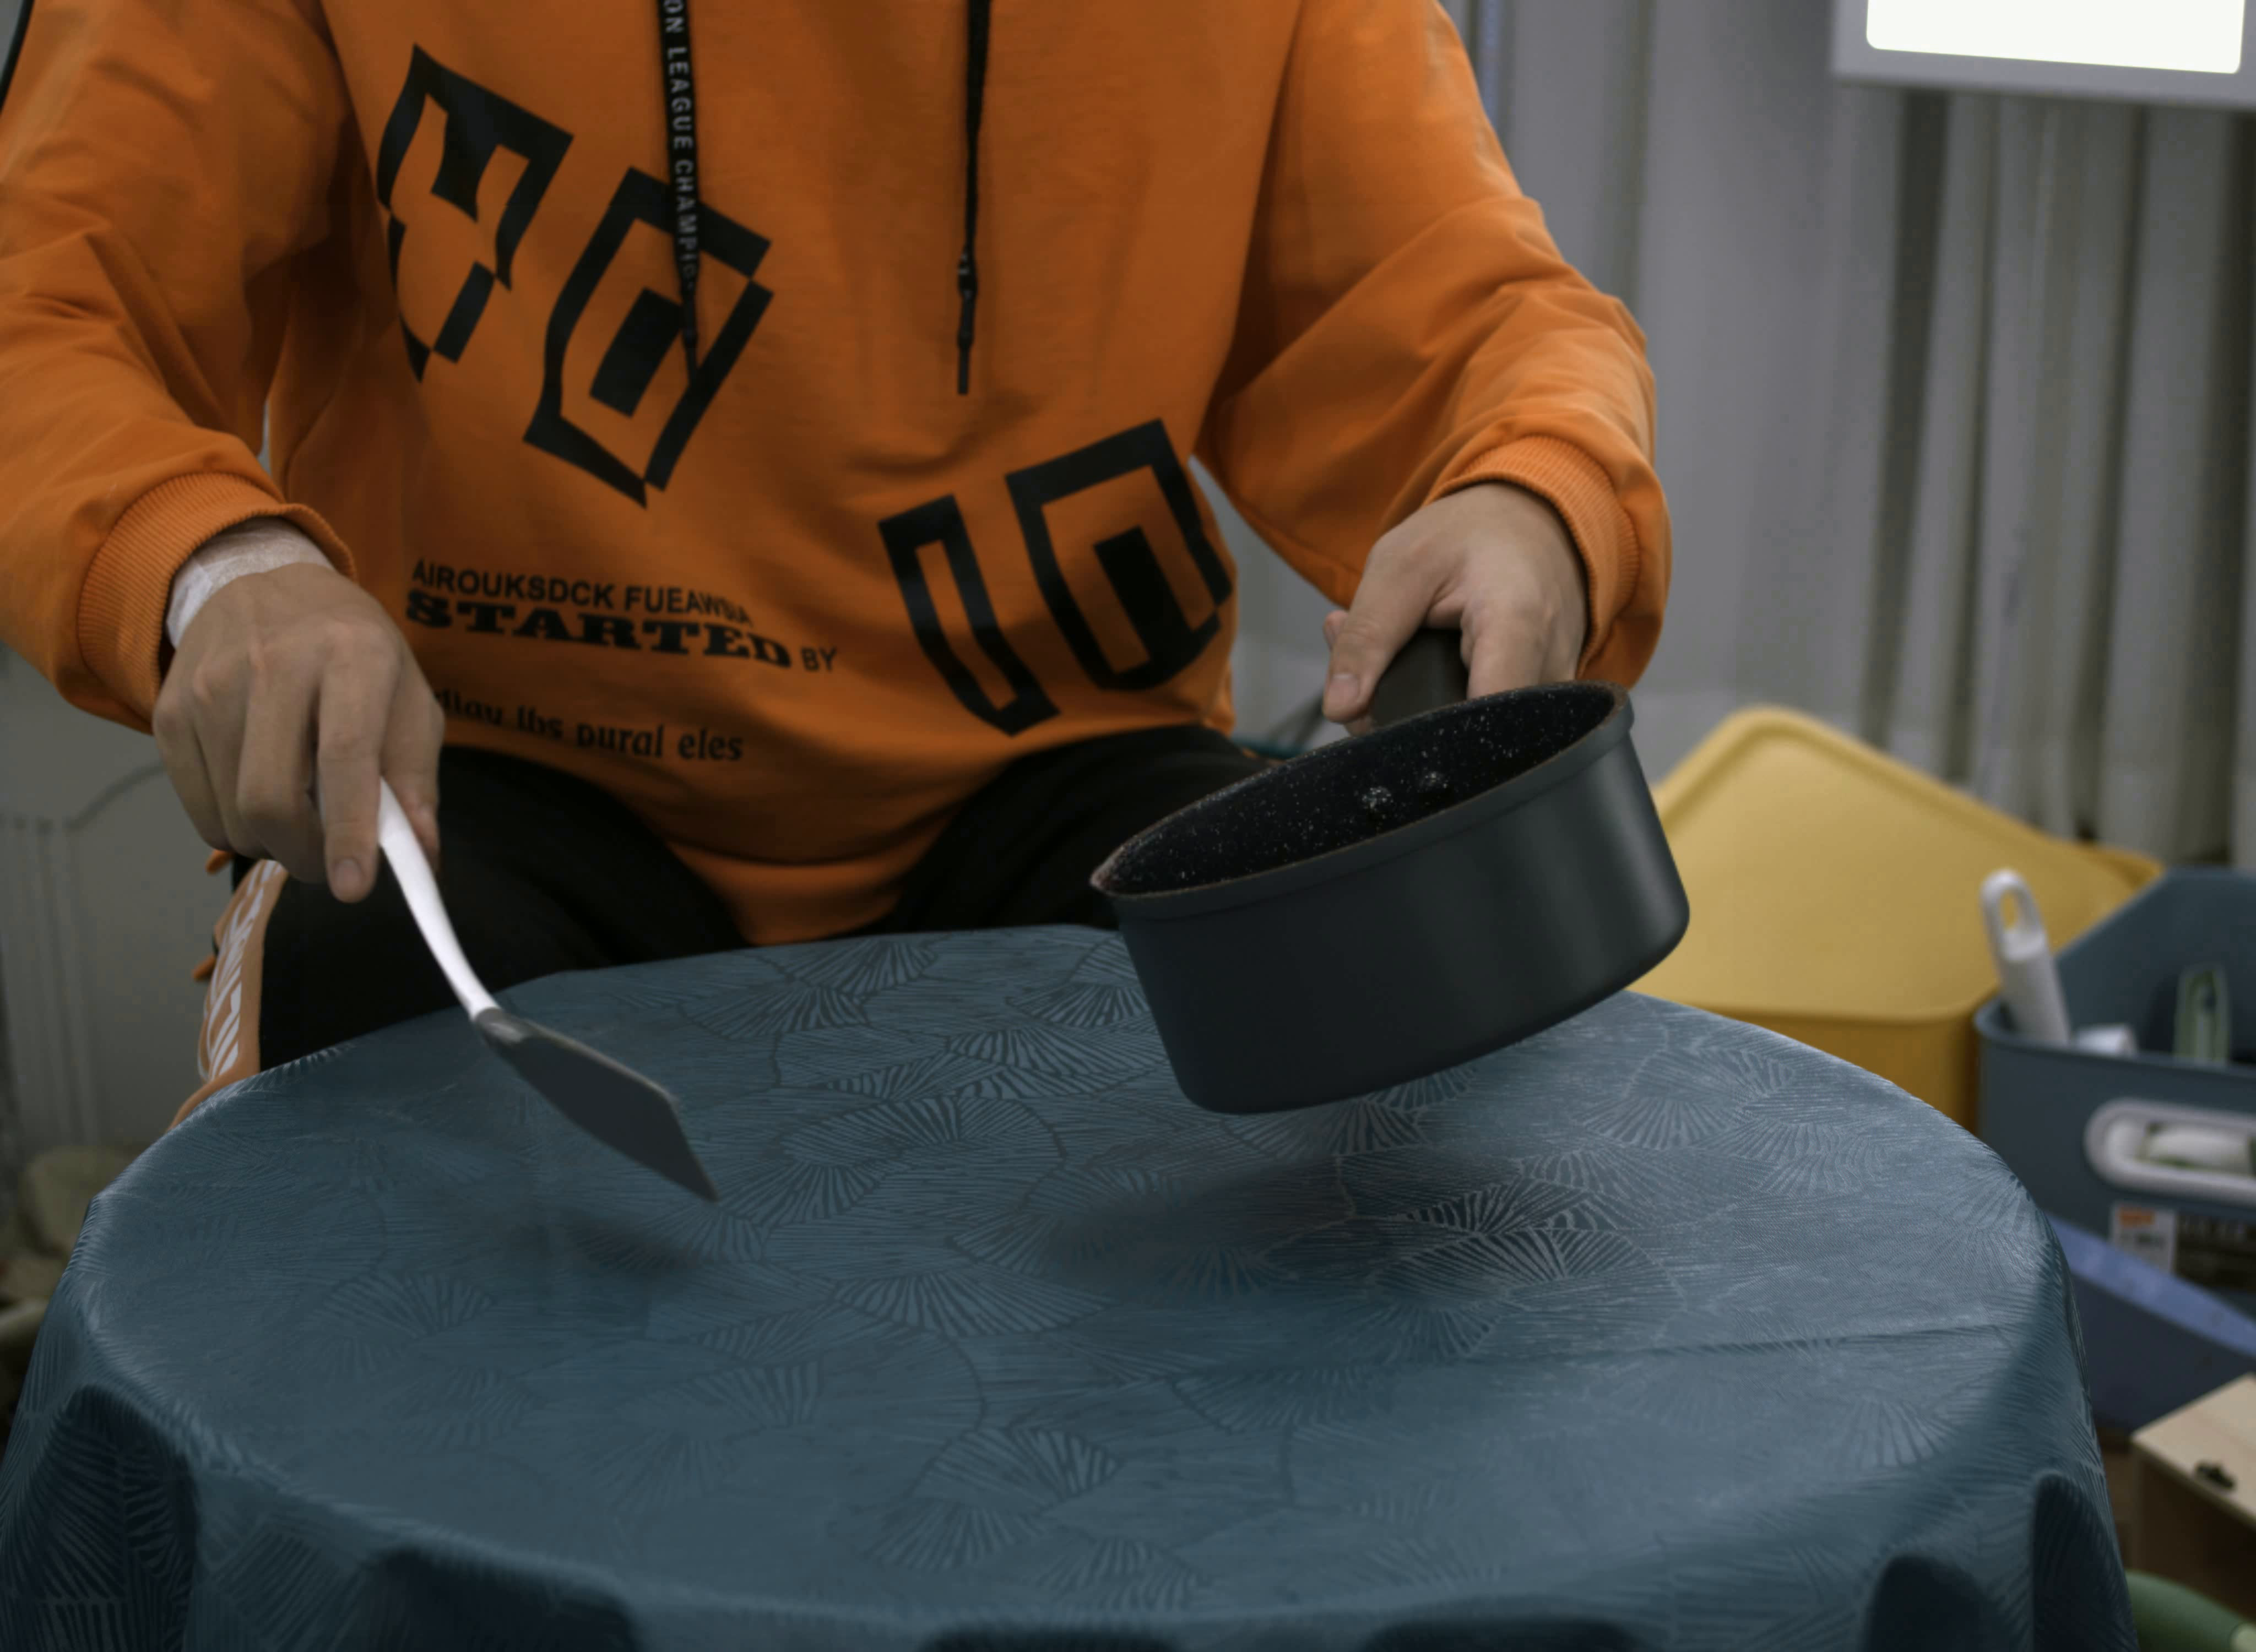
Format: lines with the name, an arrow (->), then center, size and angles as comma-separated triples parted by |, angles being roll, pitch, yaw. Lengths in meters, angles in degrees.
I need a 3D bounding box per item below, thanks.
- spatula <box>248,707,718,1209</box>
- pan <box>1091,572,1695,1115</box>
spatula -> -0.205, 0.038, 1.630 | 0.032, 0.059, 0.283 | -31, 40, -15
pan -> 0.094, -0.002, 1.650 | 0.171, 0.087, 0.328 | -17, 12, 15
